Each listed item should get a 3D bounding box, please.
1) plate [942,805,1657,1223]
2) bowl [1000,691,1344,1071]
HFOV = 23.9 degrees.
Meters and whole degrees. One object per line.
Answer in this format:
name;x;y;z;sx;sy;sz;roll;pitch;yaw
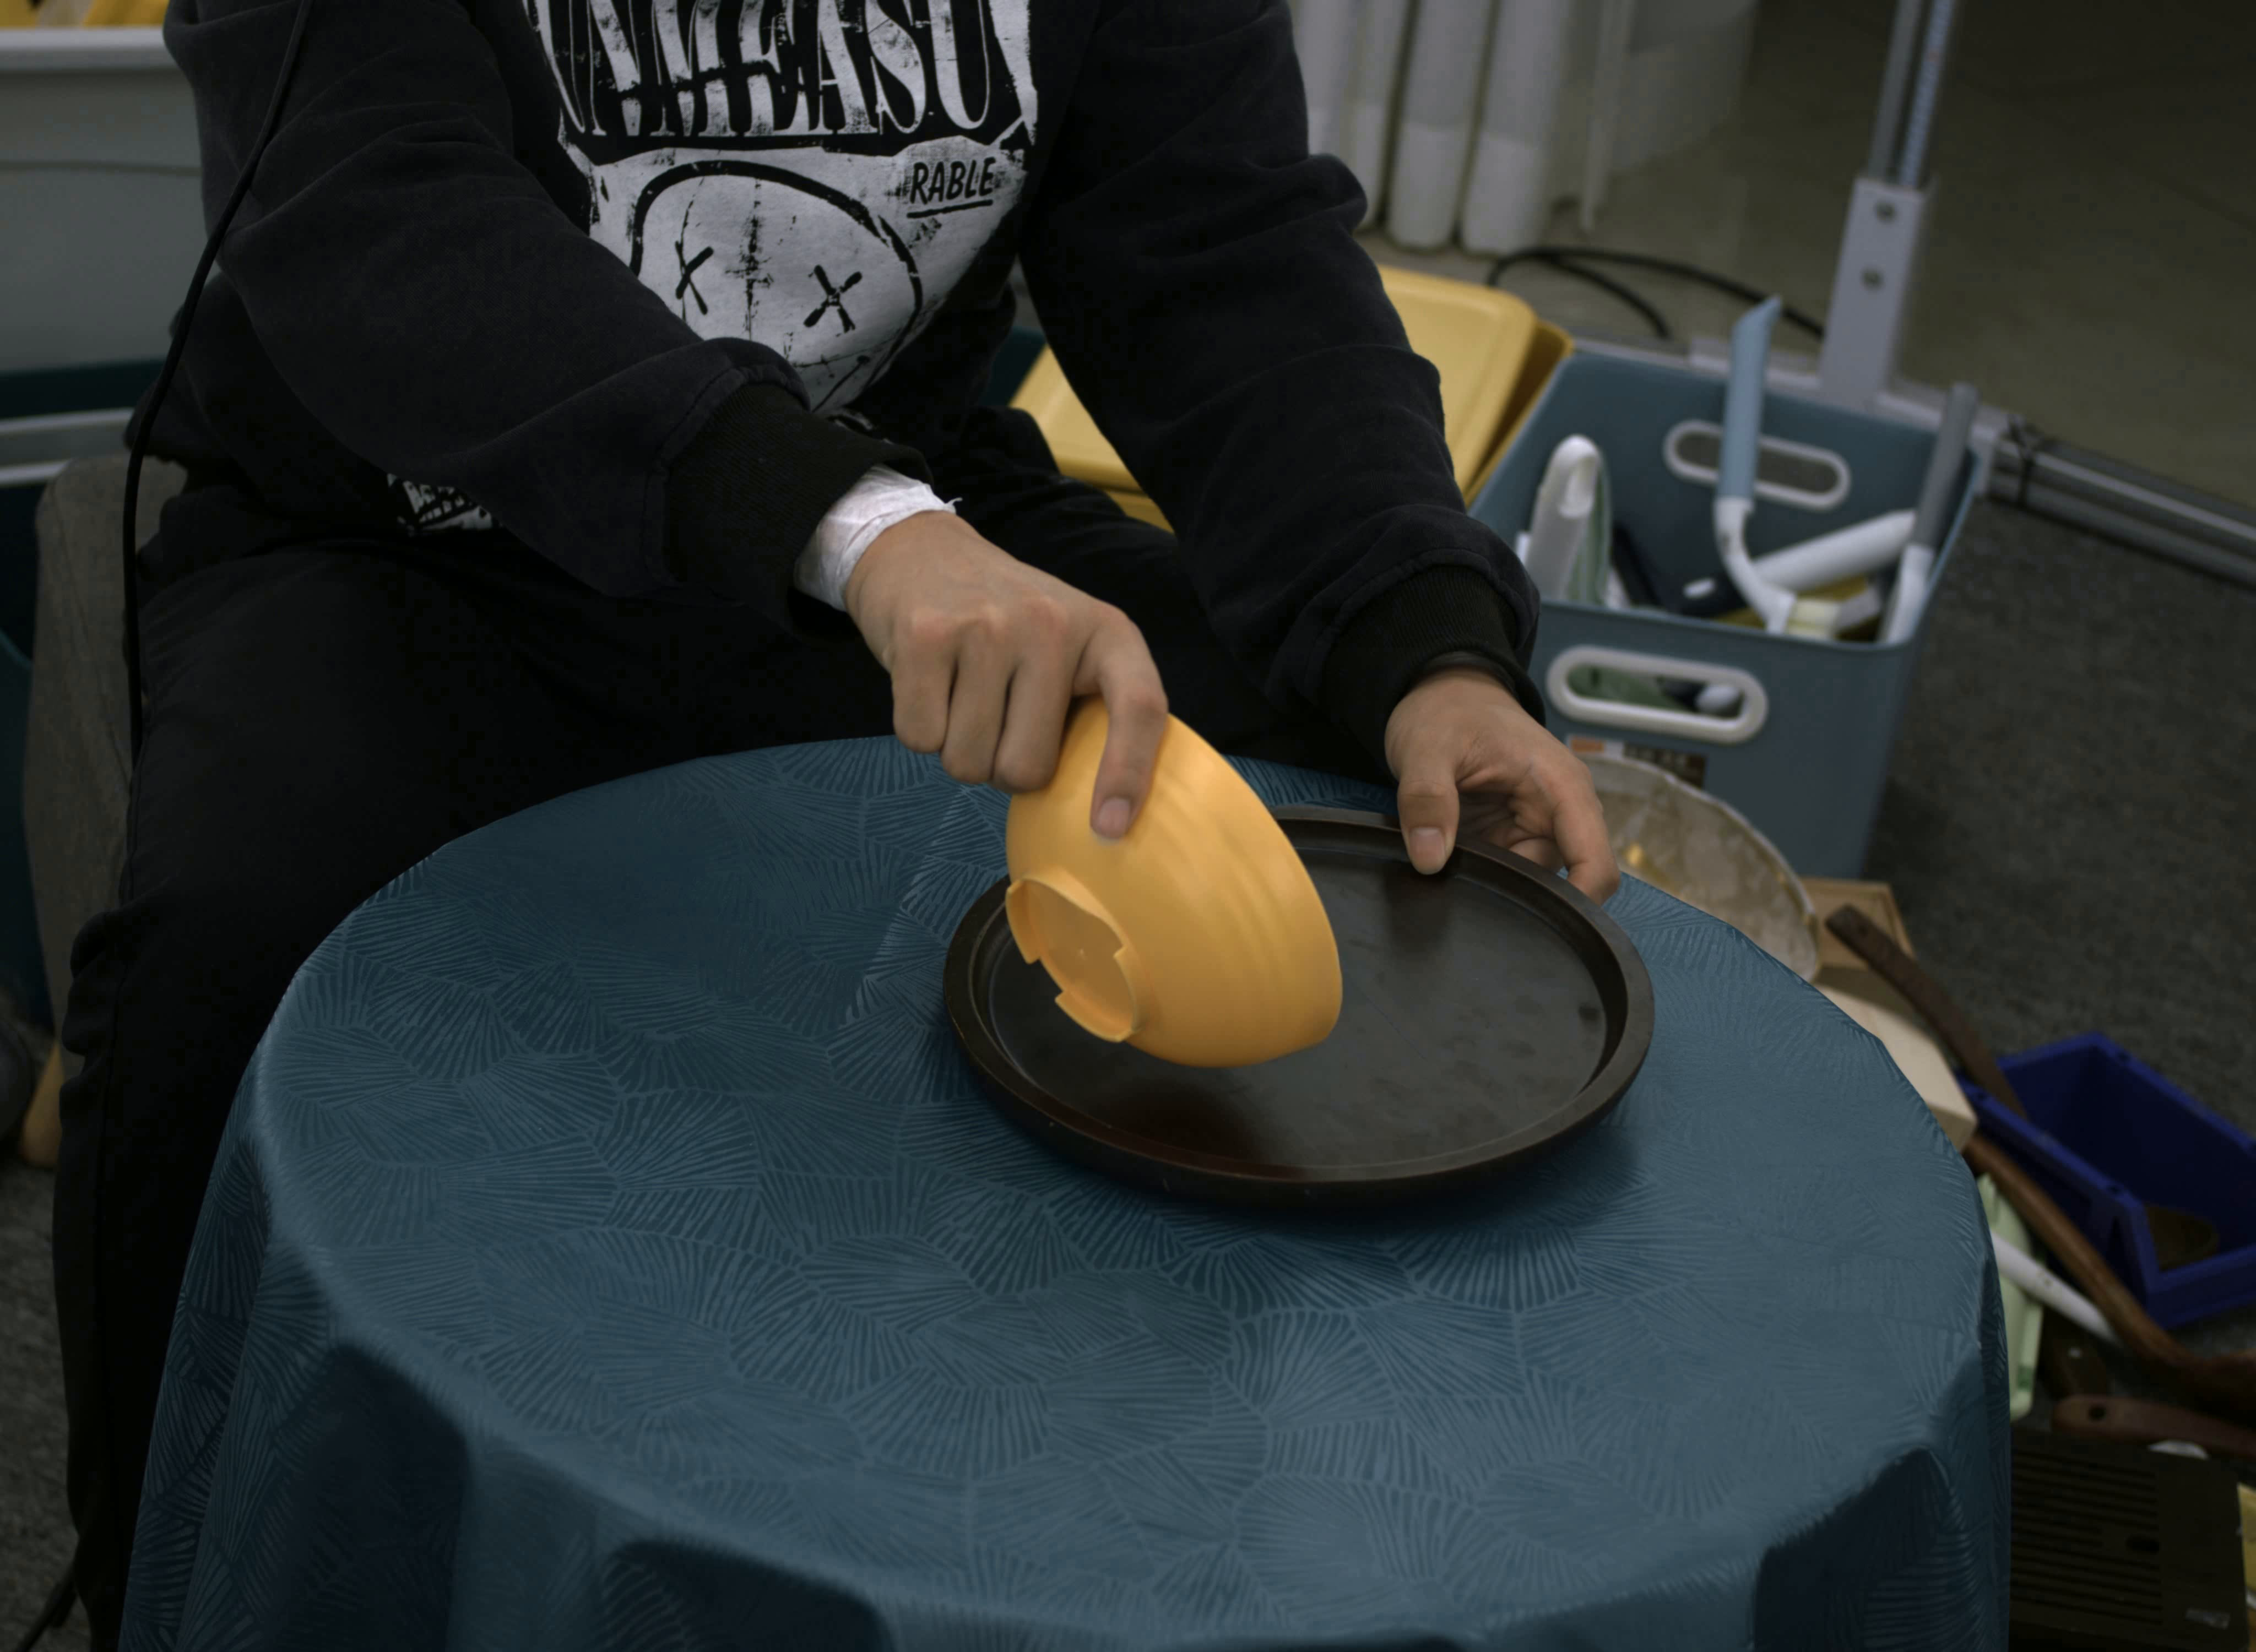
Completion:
plate;0.061;0.065;1.885;0.254;0.029;0.256;-1;30;0
bowl;0.002;0.031;1.790;0.060;0.144;0.146;-37;46;-26
